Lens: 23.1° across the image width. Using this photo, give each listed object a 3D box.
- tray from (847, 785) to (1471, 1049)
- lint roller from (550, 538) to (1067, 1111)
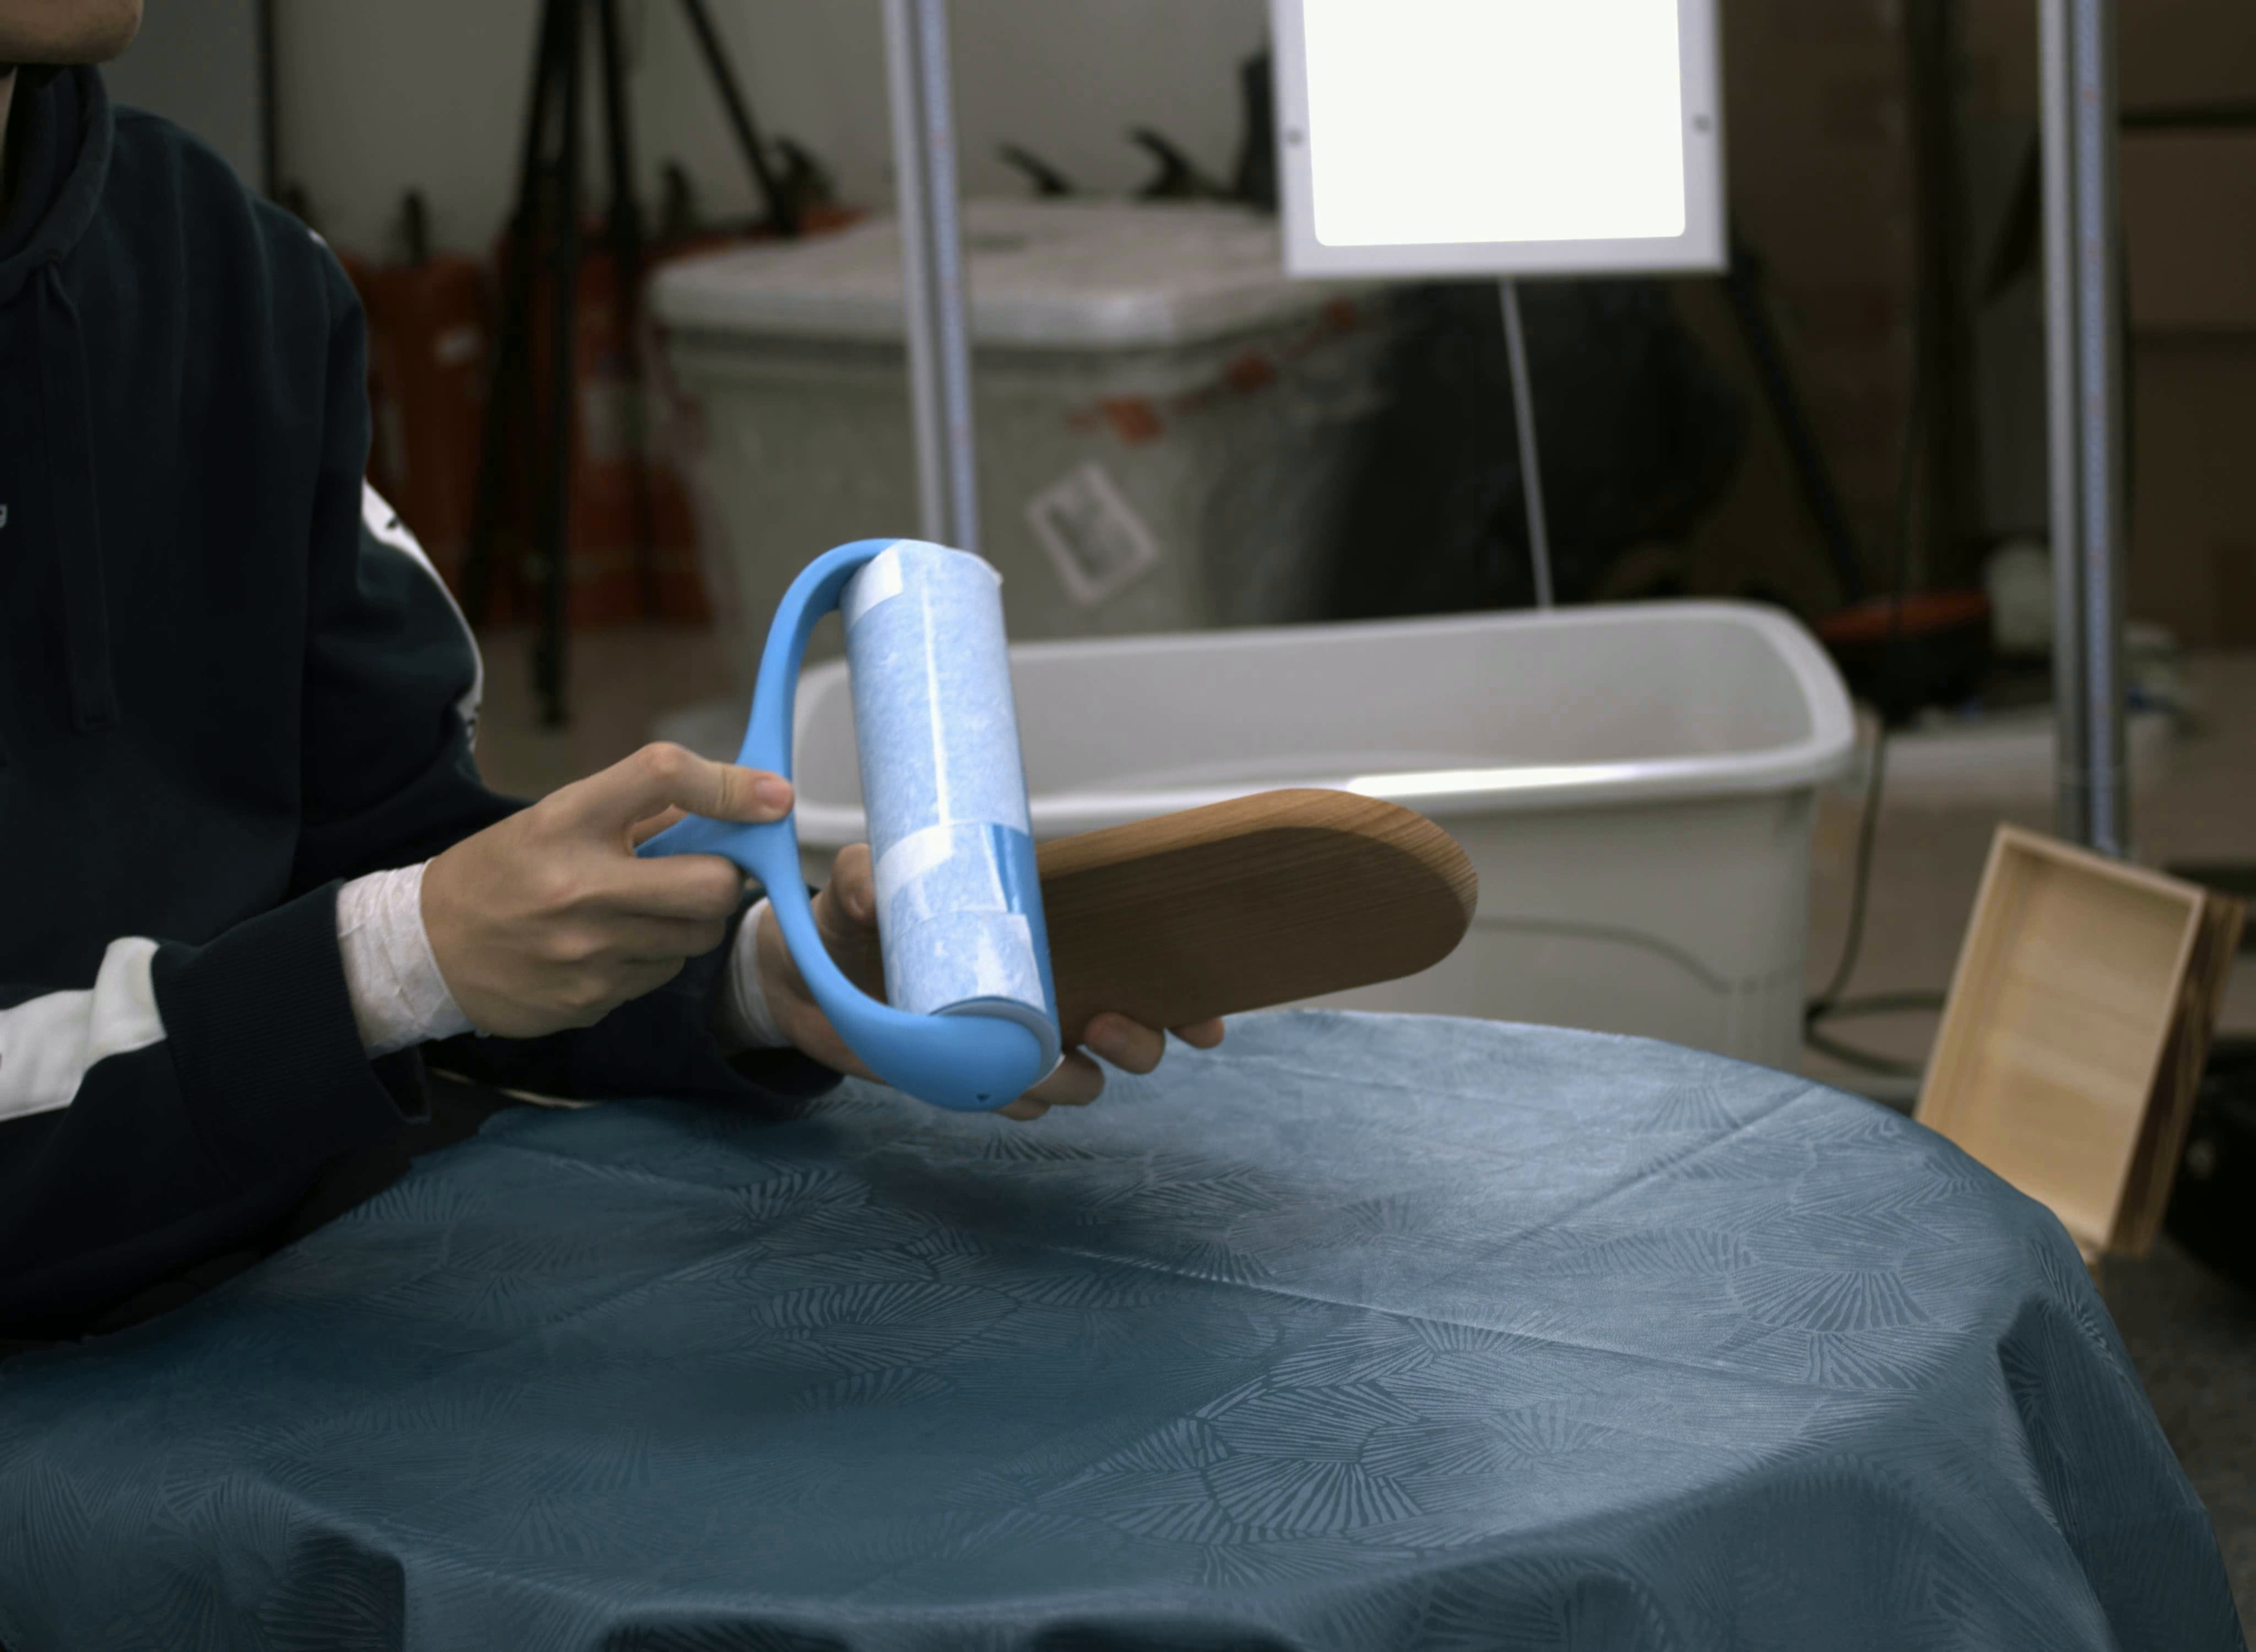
[{"bbox_3d":[0.009,0.034,1.870,0.235,0.100,0.020,-14,48,29],"label":"tray"},{"bbox_3d":[-0.115,0.016,1.798,0.181,0.067,0.229,-20,52,9],"label":"lint roller"}]
